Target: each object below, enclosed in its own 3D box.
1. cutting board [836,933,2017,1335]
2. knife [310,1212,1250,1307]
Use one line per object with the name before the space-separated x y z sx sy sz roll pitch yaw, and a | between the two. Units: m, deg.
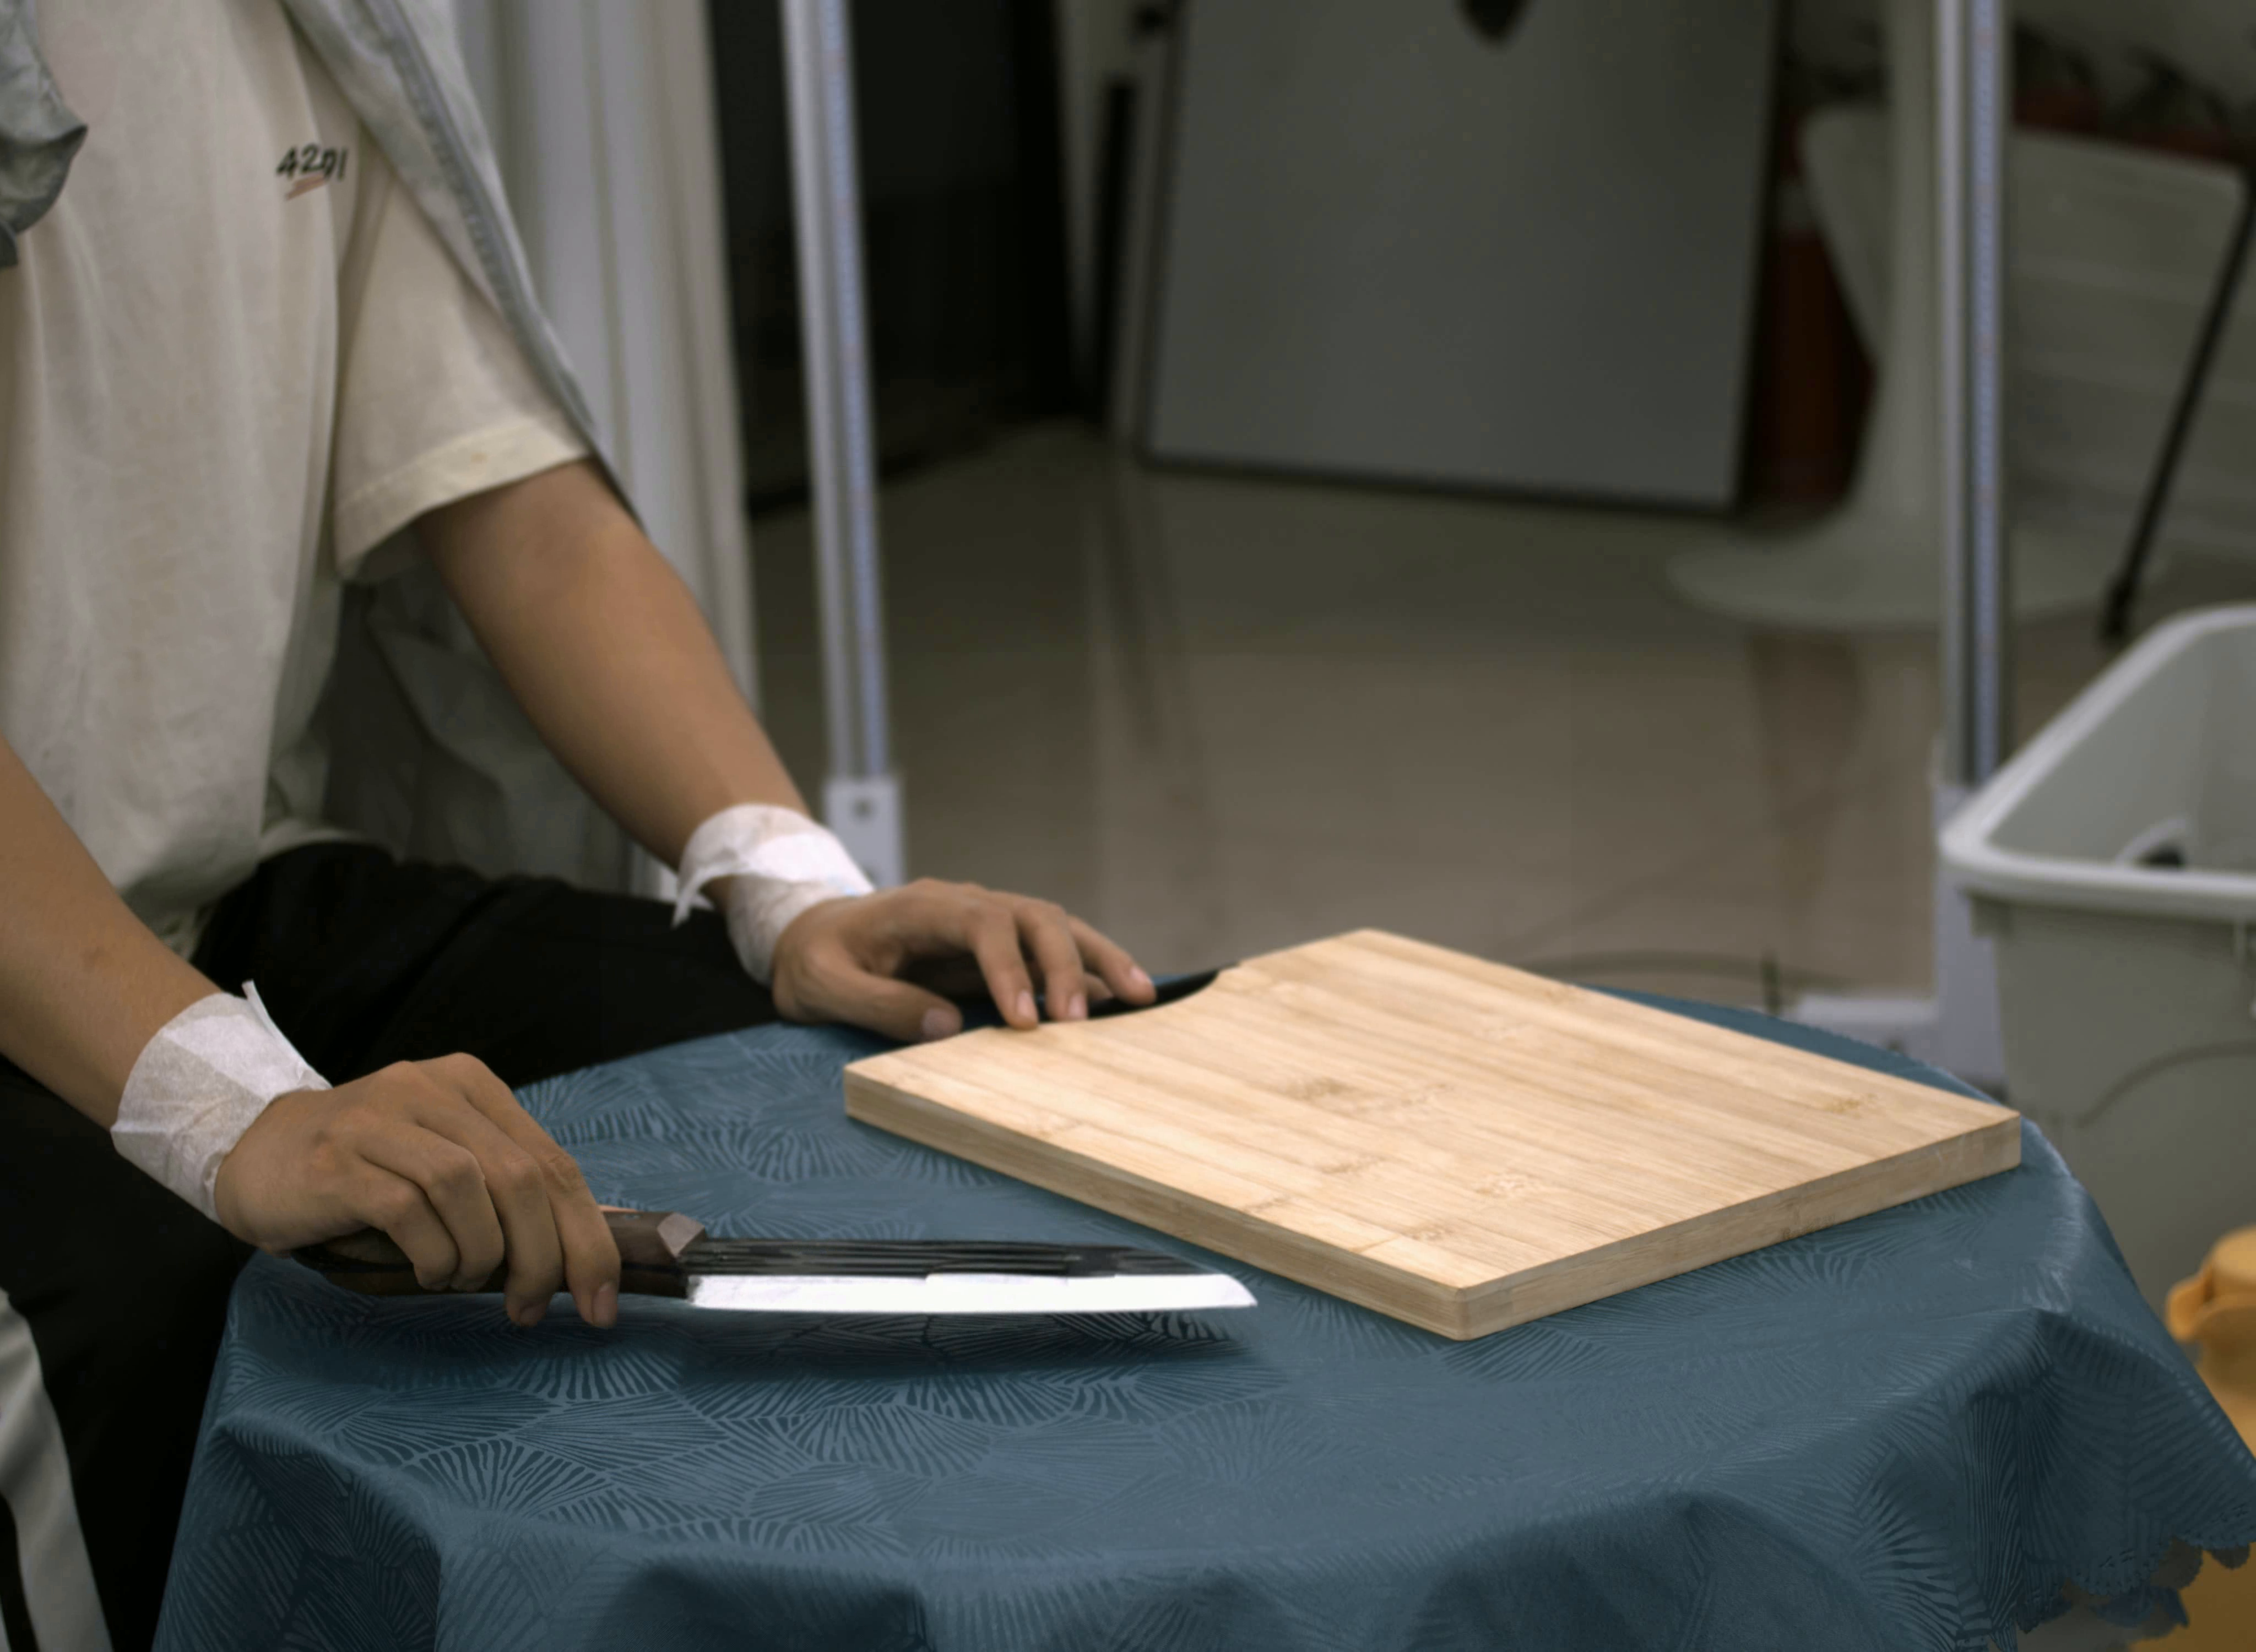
cutting board | 0.093 0.098 1.811 0.245 0.024 0.352 -13 16 -35
knife | -0.109 0.136 1.647 0.296 0.024 0.068 0 12 7
